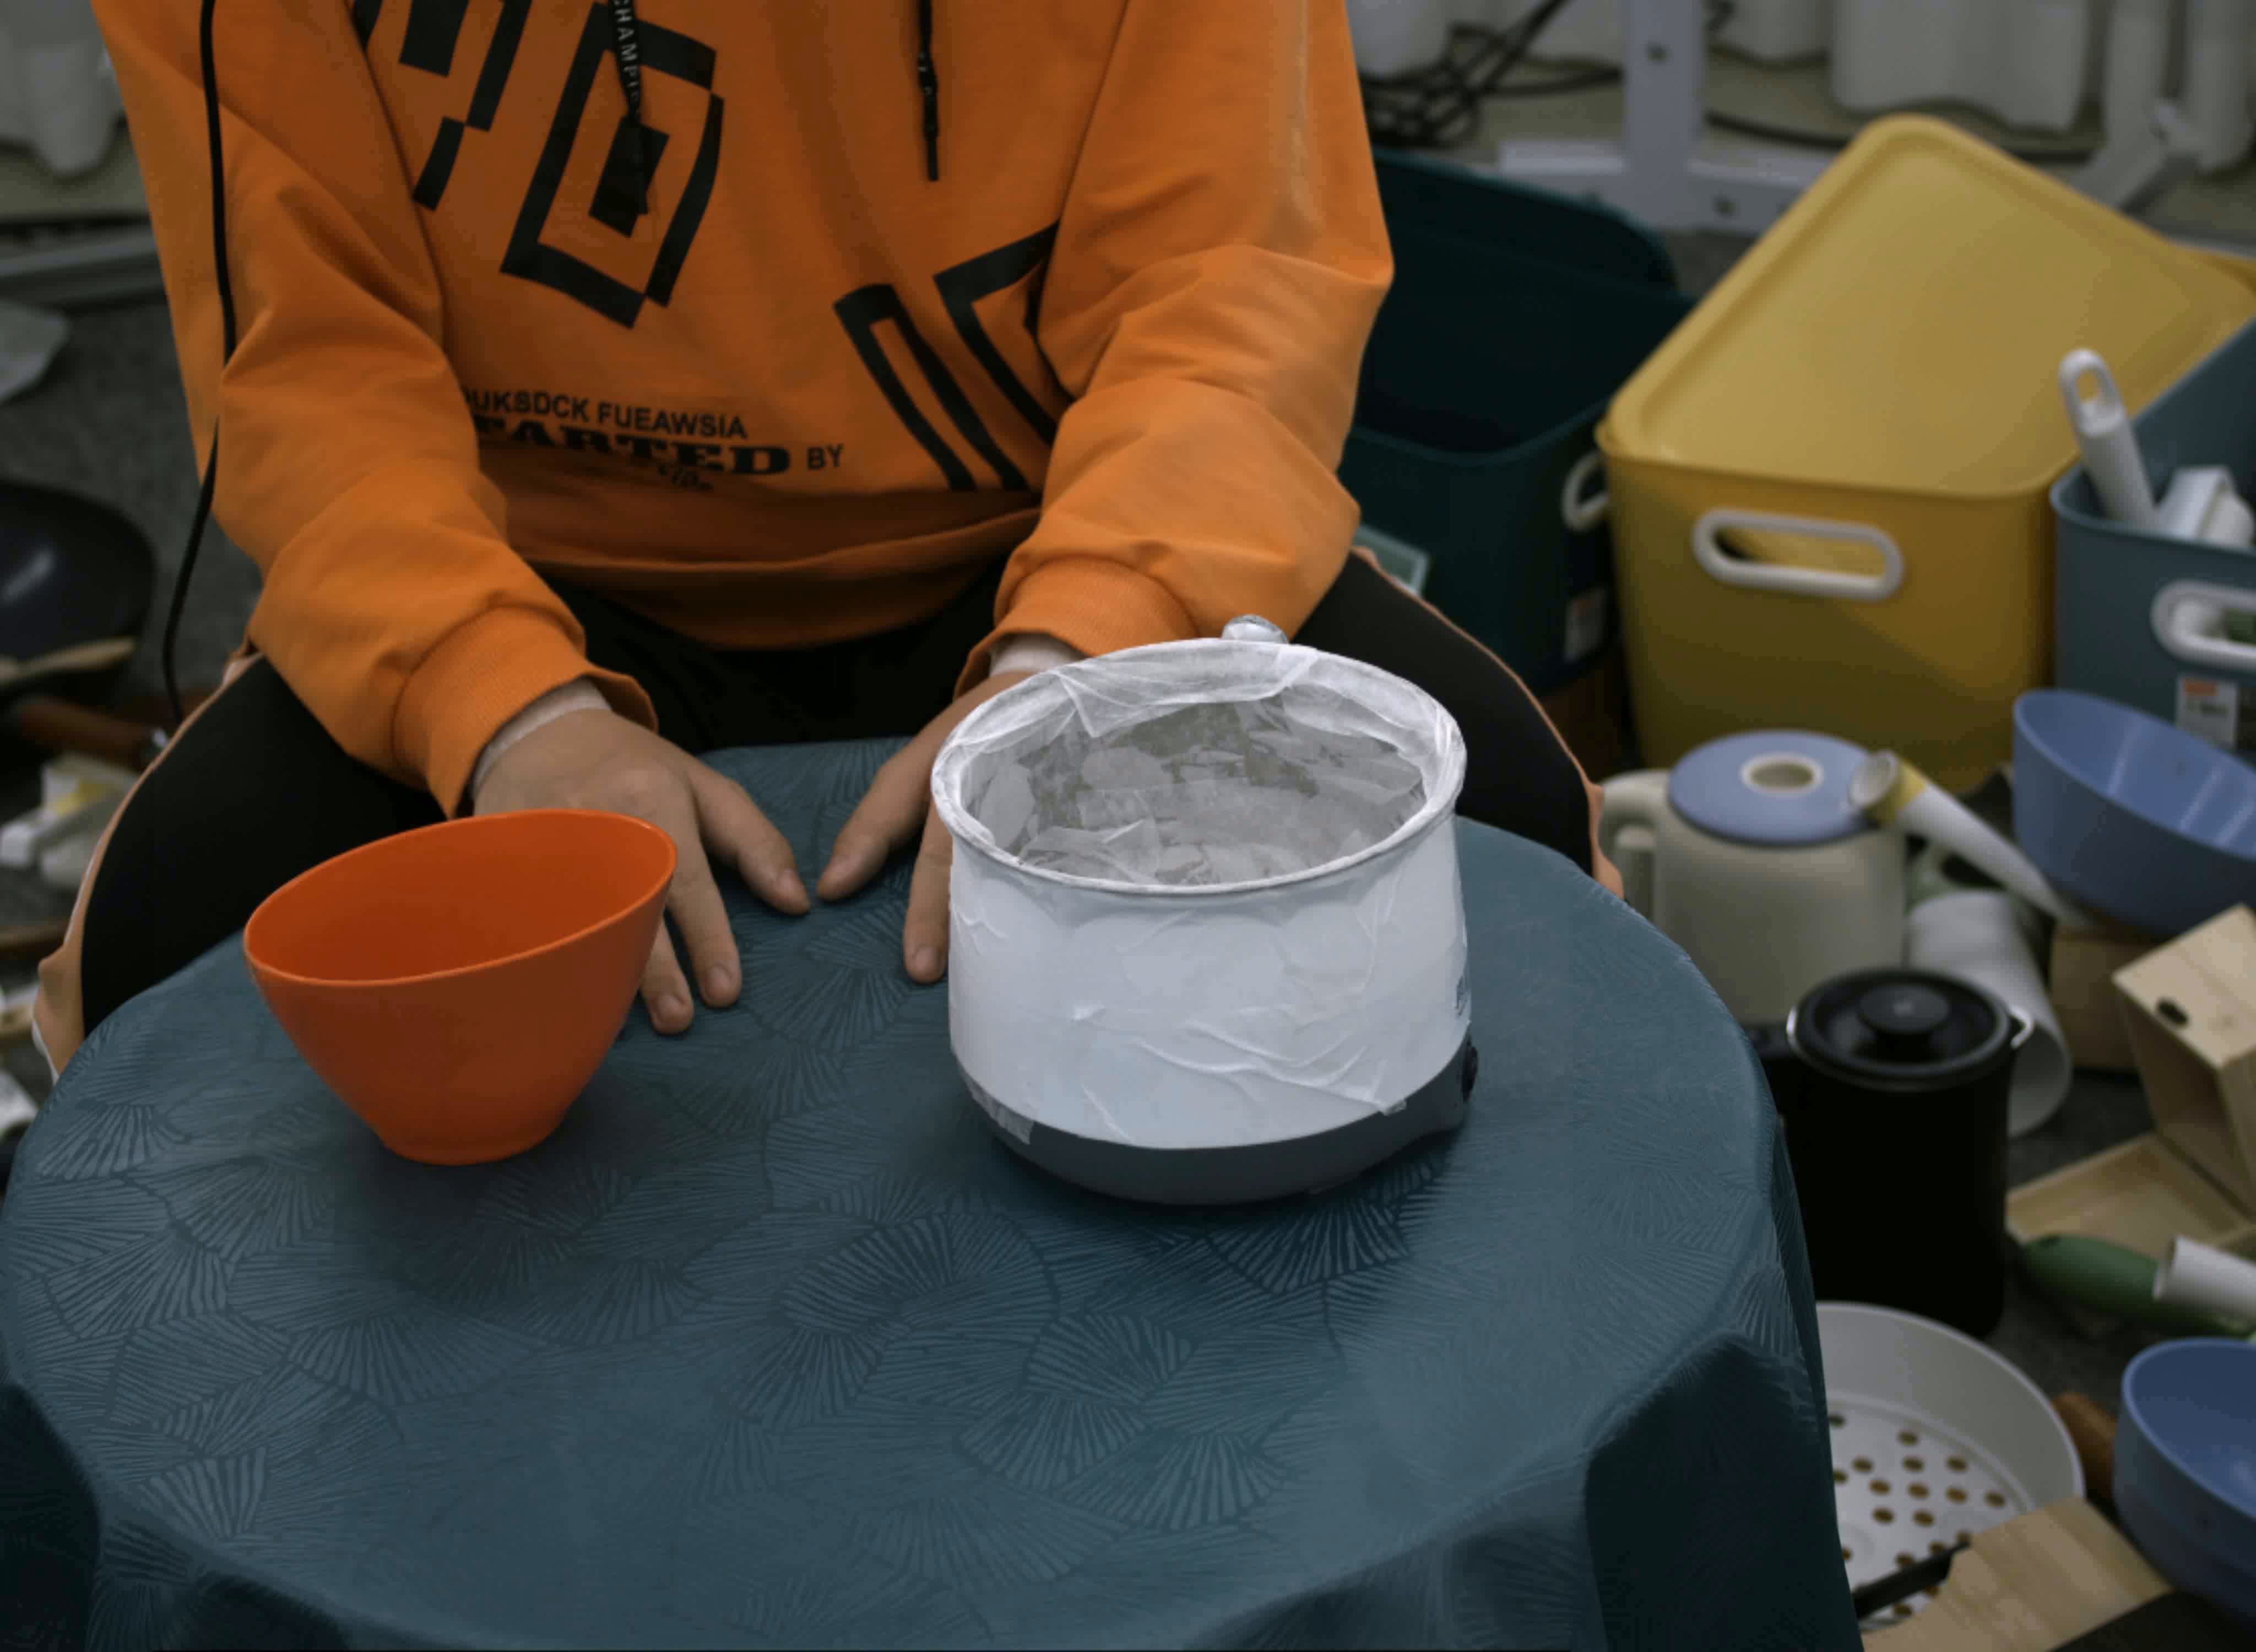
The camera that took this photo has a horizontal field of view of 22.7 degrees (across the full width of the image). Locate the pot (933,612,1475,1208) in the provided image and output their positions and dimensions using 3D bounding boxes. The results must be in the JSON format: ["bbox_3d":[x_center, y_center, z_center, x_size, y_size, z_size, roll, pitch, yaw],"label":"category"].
[{"bbox_3d":[0.031,0.021,1.905,0.177,0.135,0.238,2,28,9],"label":"pot"}]

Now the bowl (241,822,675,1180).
[{"bbox_3d":[-0.222,0.063,1.896,0.147,0.103,0.150,-3,25,2],"label":"bowl"}]
